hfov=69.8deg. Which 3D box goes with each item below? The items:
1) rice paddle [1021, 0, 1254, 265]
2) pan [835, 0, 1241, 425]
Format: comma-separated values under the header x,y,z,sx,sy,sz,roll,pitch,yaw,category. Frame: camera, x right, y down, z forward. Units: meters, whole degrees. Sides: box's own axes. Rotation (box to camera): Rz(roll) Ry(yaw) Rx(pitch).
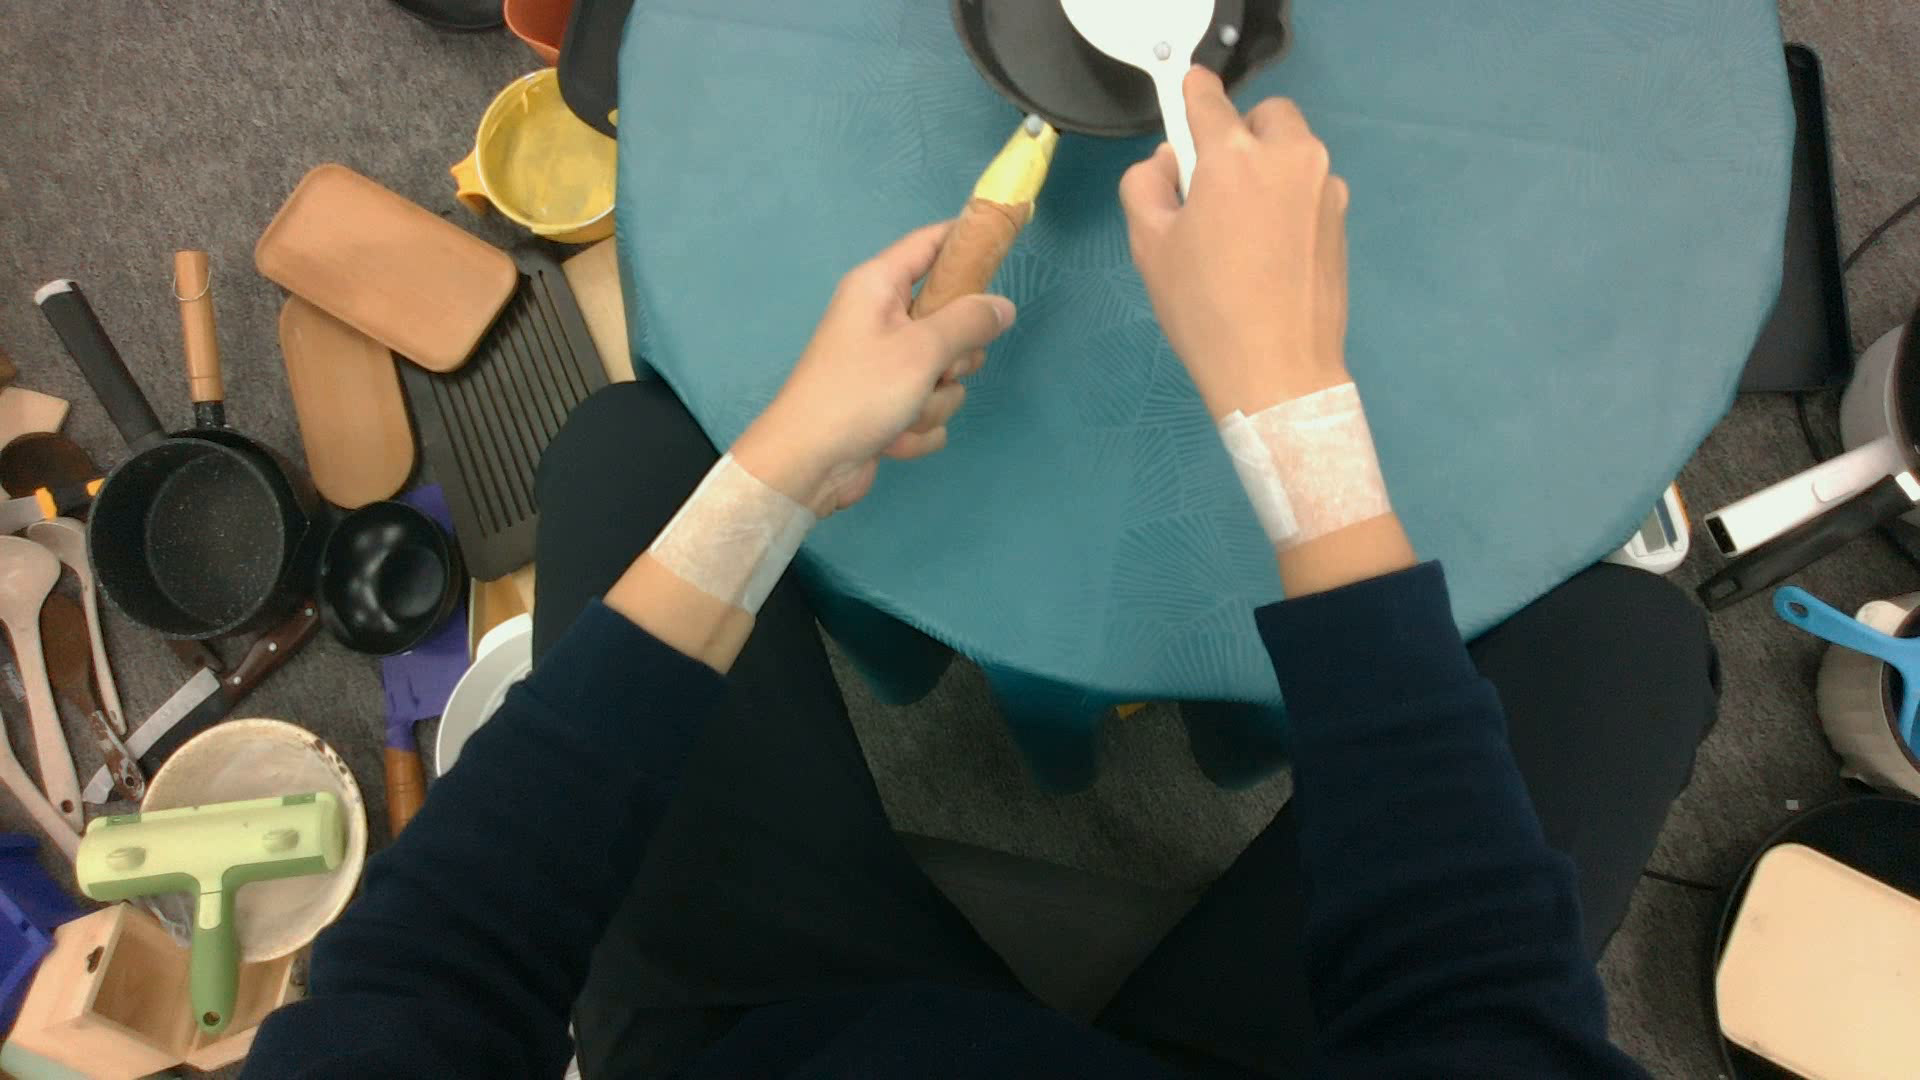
x,y,z,sx,sy,sz,roll,pitch,yaw,category
0.078,-0.204,0.607,0.069,0.029,0.206,-15,58,-3,rice paddle
0.016,-0.197,0.630,0.169,0.049,0.324,24,80,4,pan
